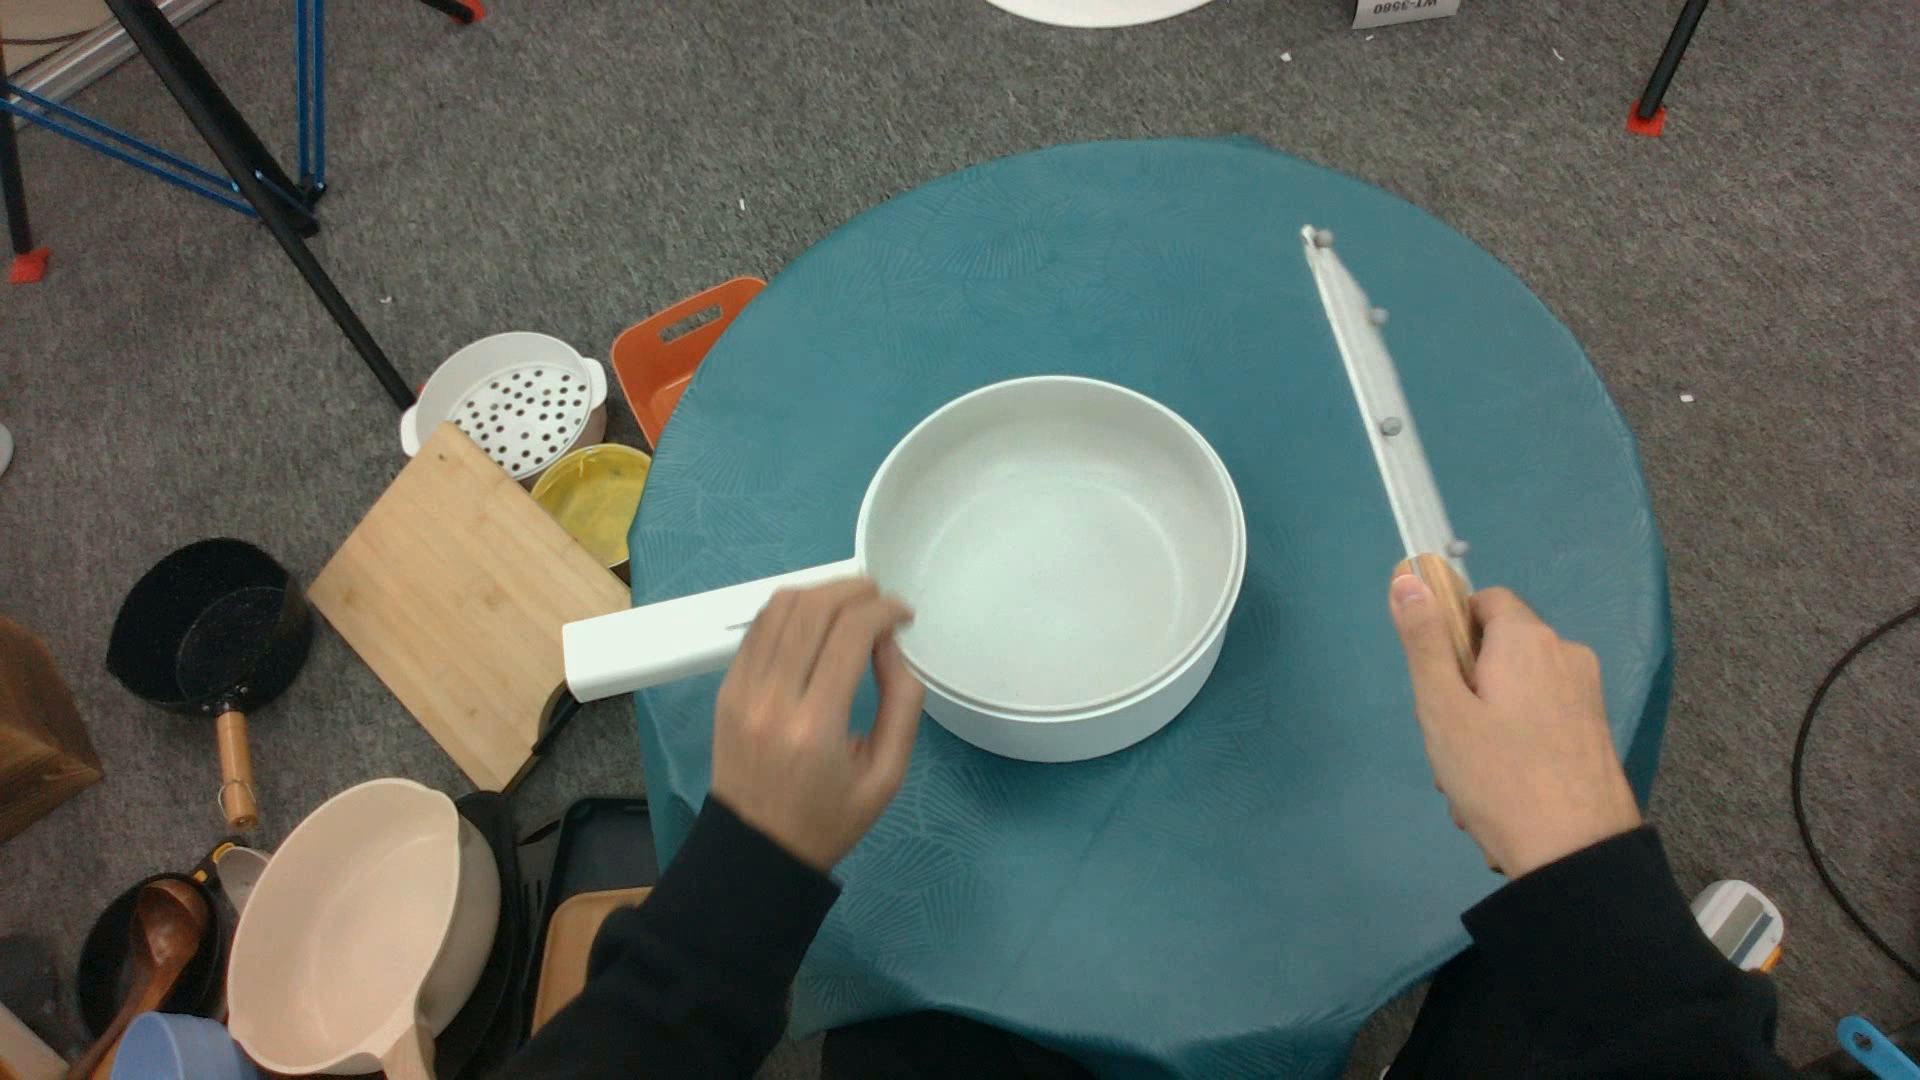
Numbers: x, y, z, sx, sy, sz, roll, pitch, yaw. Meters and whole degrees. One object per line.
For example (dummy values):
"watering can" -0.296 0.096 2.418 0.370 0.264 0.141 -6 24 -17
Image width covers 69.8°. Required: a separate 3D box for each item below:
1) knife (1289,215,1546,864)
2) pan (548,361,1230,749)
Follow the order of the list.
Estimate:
"knife" 0.196 -0.014 0.604 0.021 0.114 0.316 -24 56 28
"pan" -0.033 0.031 0.744 0.355 0.102 0.202 -14 63 -1
